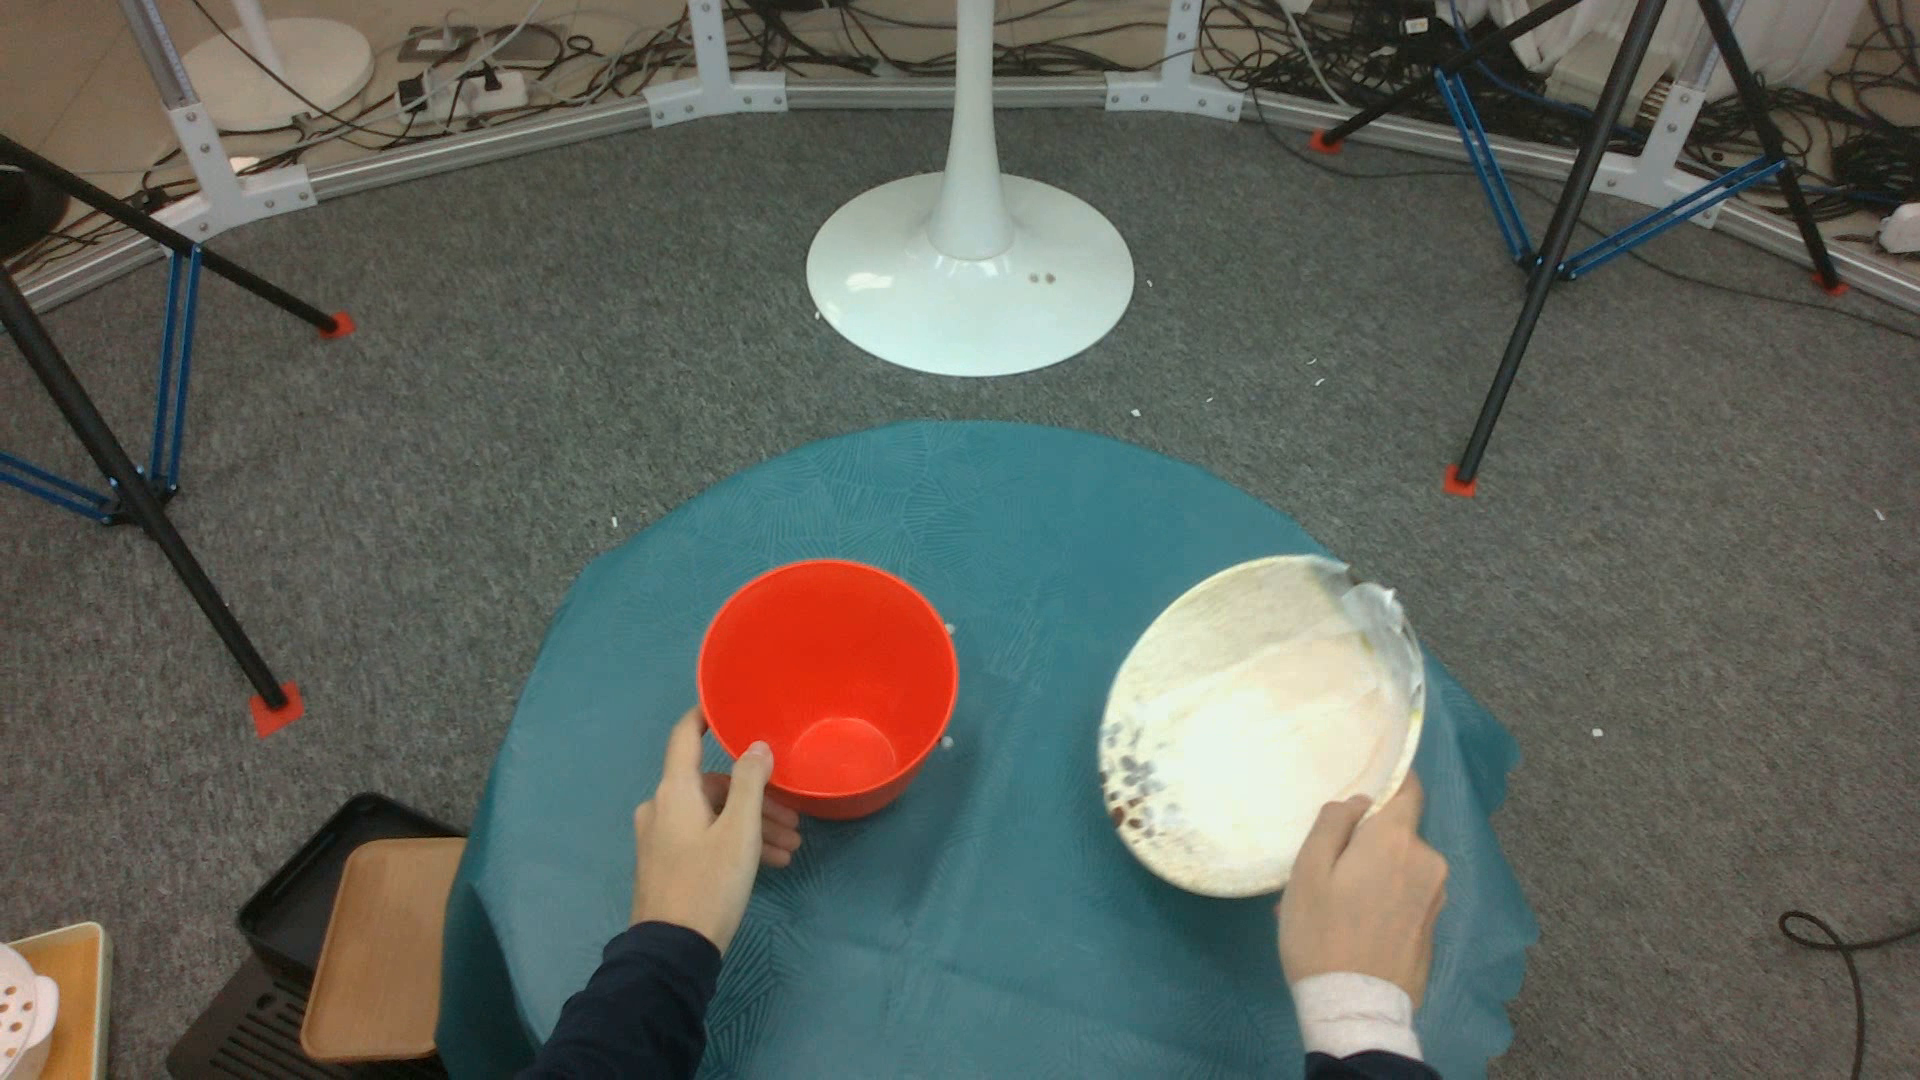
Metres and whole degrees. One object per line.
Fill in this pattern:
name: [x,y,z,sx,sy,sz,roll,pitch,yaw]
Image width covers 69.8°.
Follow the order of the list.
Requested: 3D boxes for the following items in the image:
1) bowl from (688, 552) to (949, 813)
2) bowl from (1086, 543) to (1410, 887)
bowl: [-0.081,0.096,0.813,0.148,0.104,0.148,2,51,-2]
bowl: [0.175,0.108,0.782,0.203,0.078,0.205,-27,44,30]
